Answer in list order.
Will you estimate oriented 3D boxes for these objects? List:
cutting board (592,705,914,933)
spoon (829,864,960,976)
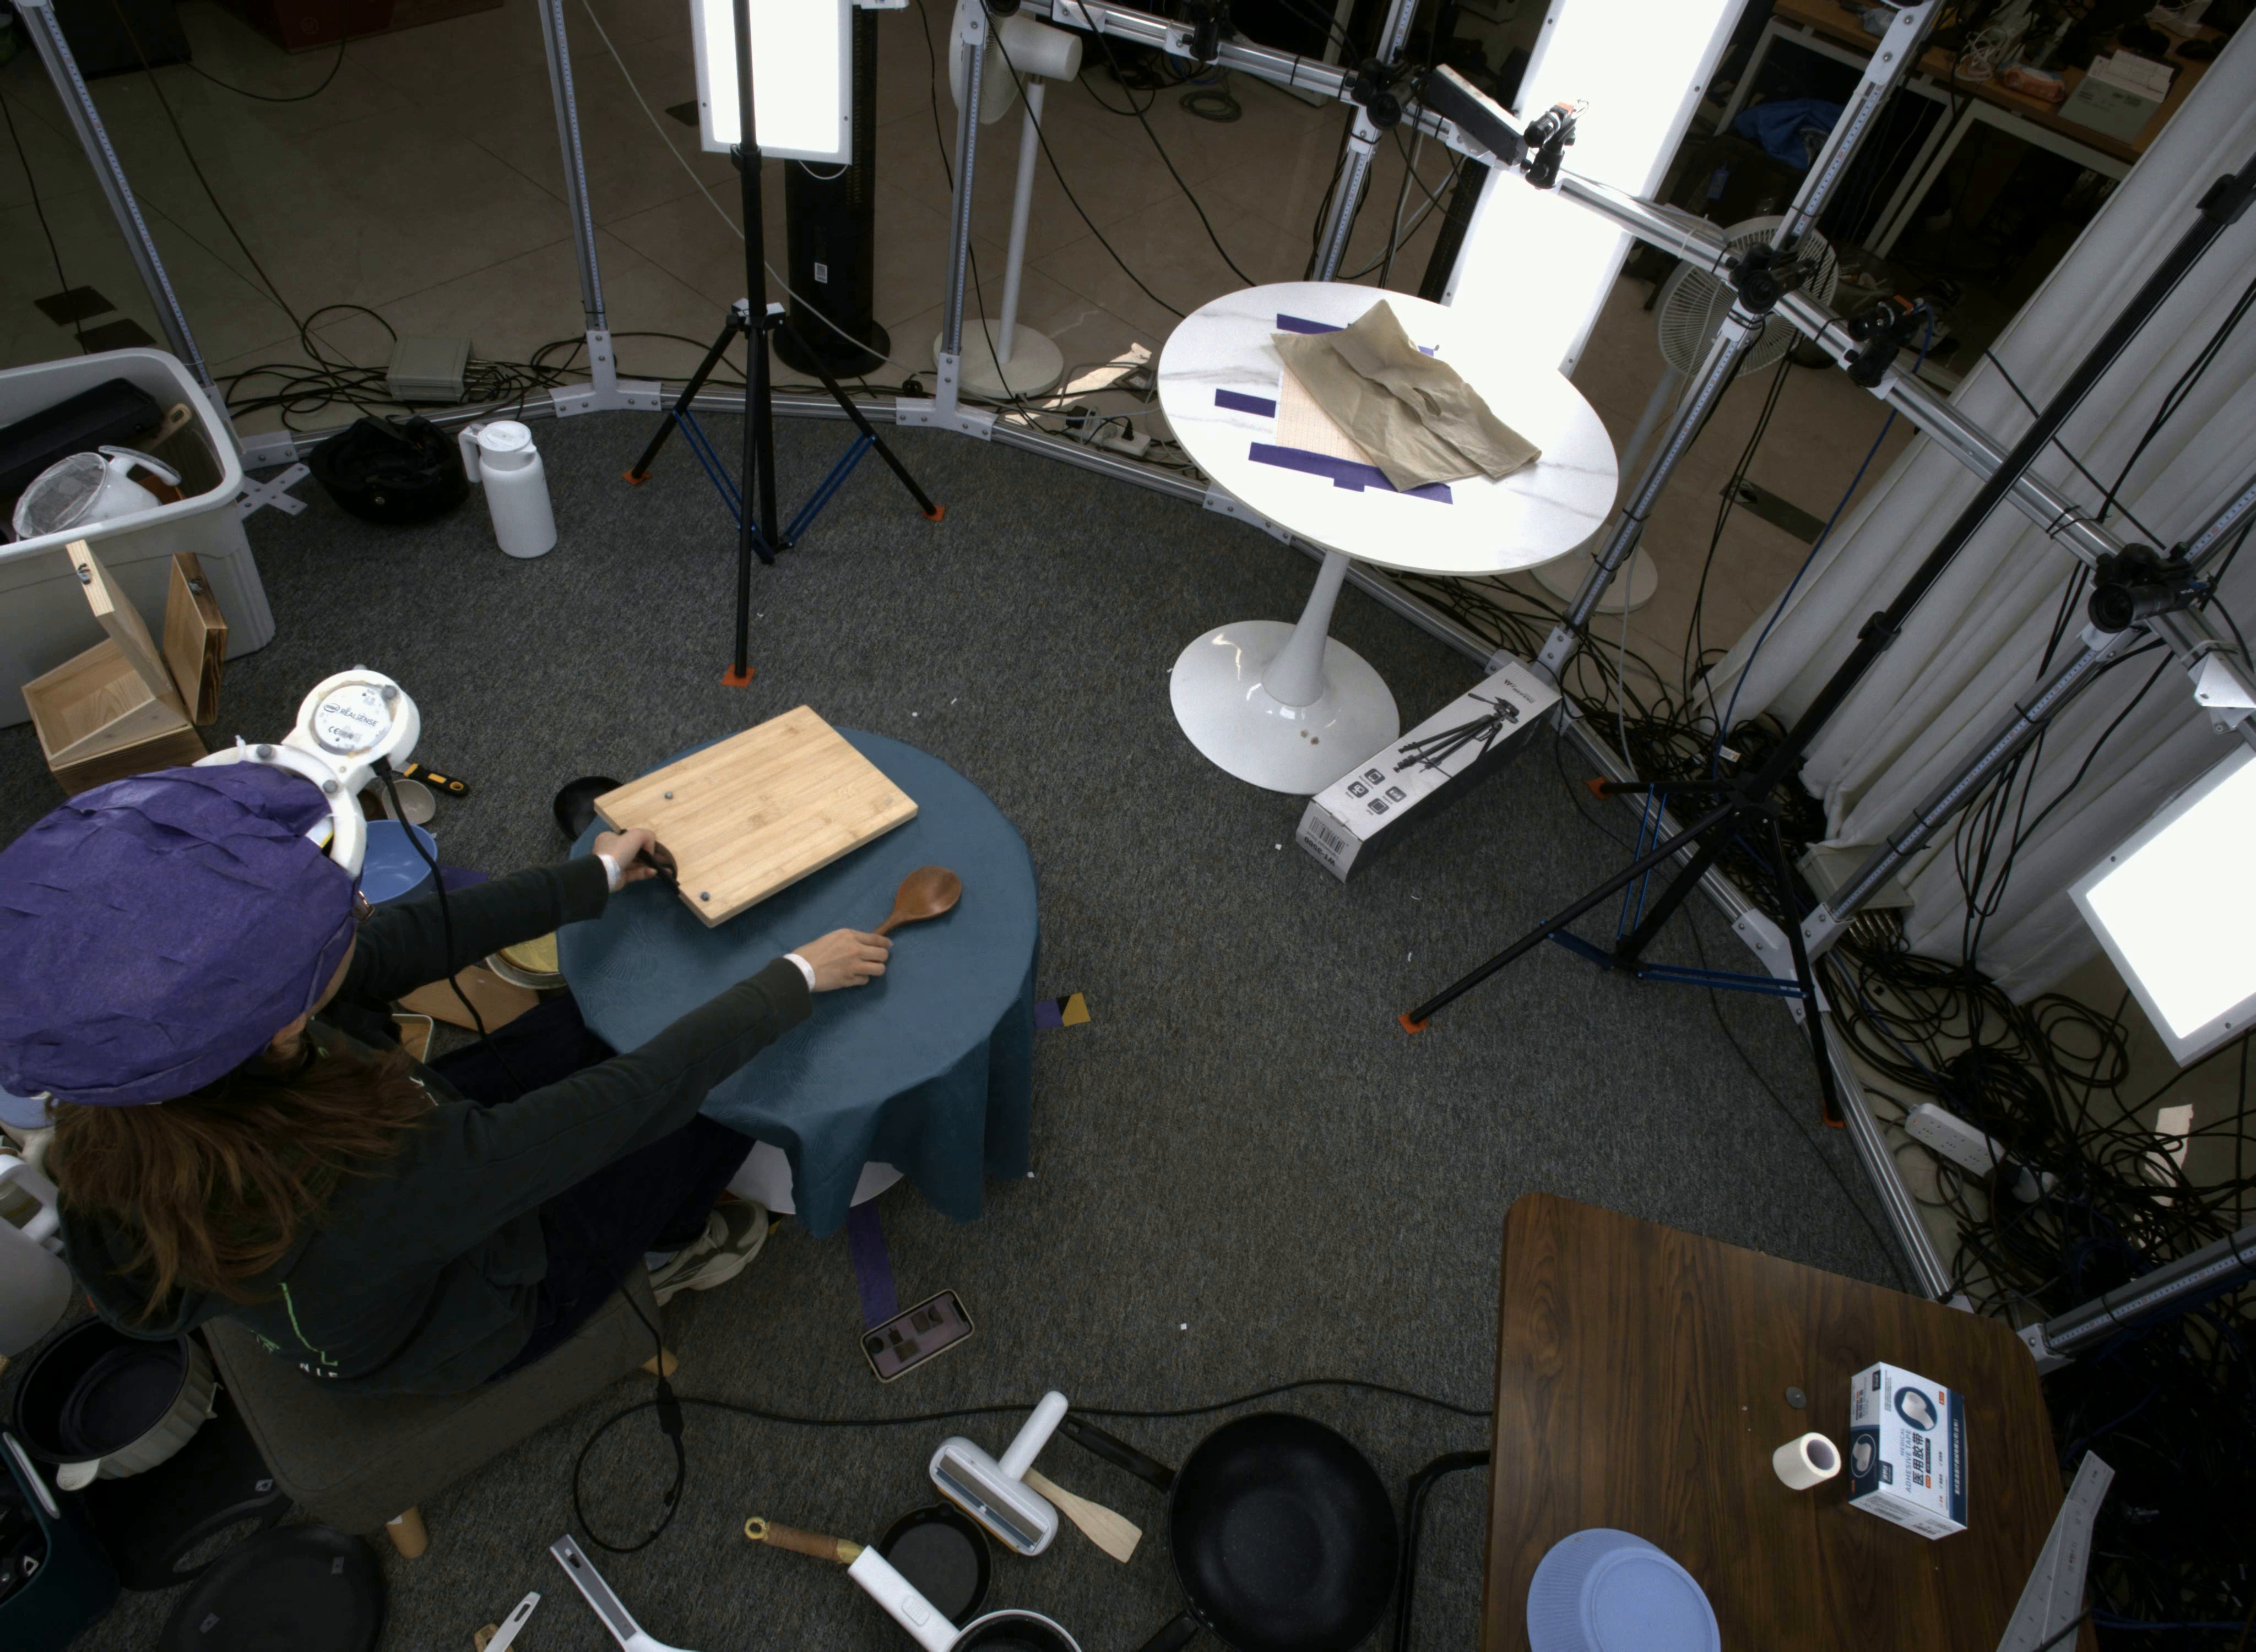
[{"bbox_3d":[-0.483,-0.022,1.687,0.245,0.024,0.350,40,46,16],"label":"cutting board"},{"bbox_3d":[-0.299,0.119,1.658,0.074,0.017,0.216,39,52,13],"label":"spoon"}]
